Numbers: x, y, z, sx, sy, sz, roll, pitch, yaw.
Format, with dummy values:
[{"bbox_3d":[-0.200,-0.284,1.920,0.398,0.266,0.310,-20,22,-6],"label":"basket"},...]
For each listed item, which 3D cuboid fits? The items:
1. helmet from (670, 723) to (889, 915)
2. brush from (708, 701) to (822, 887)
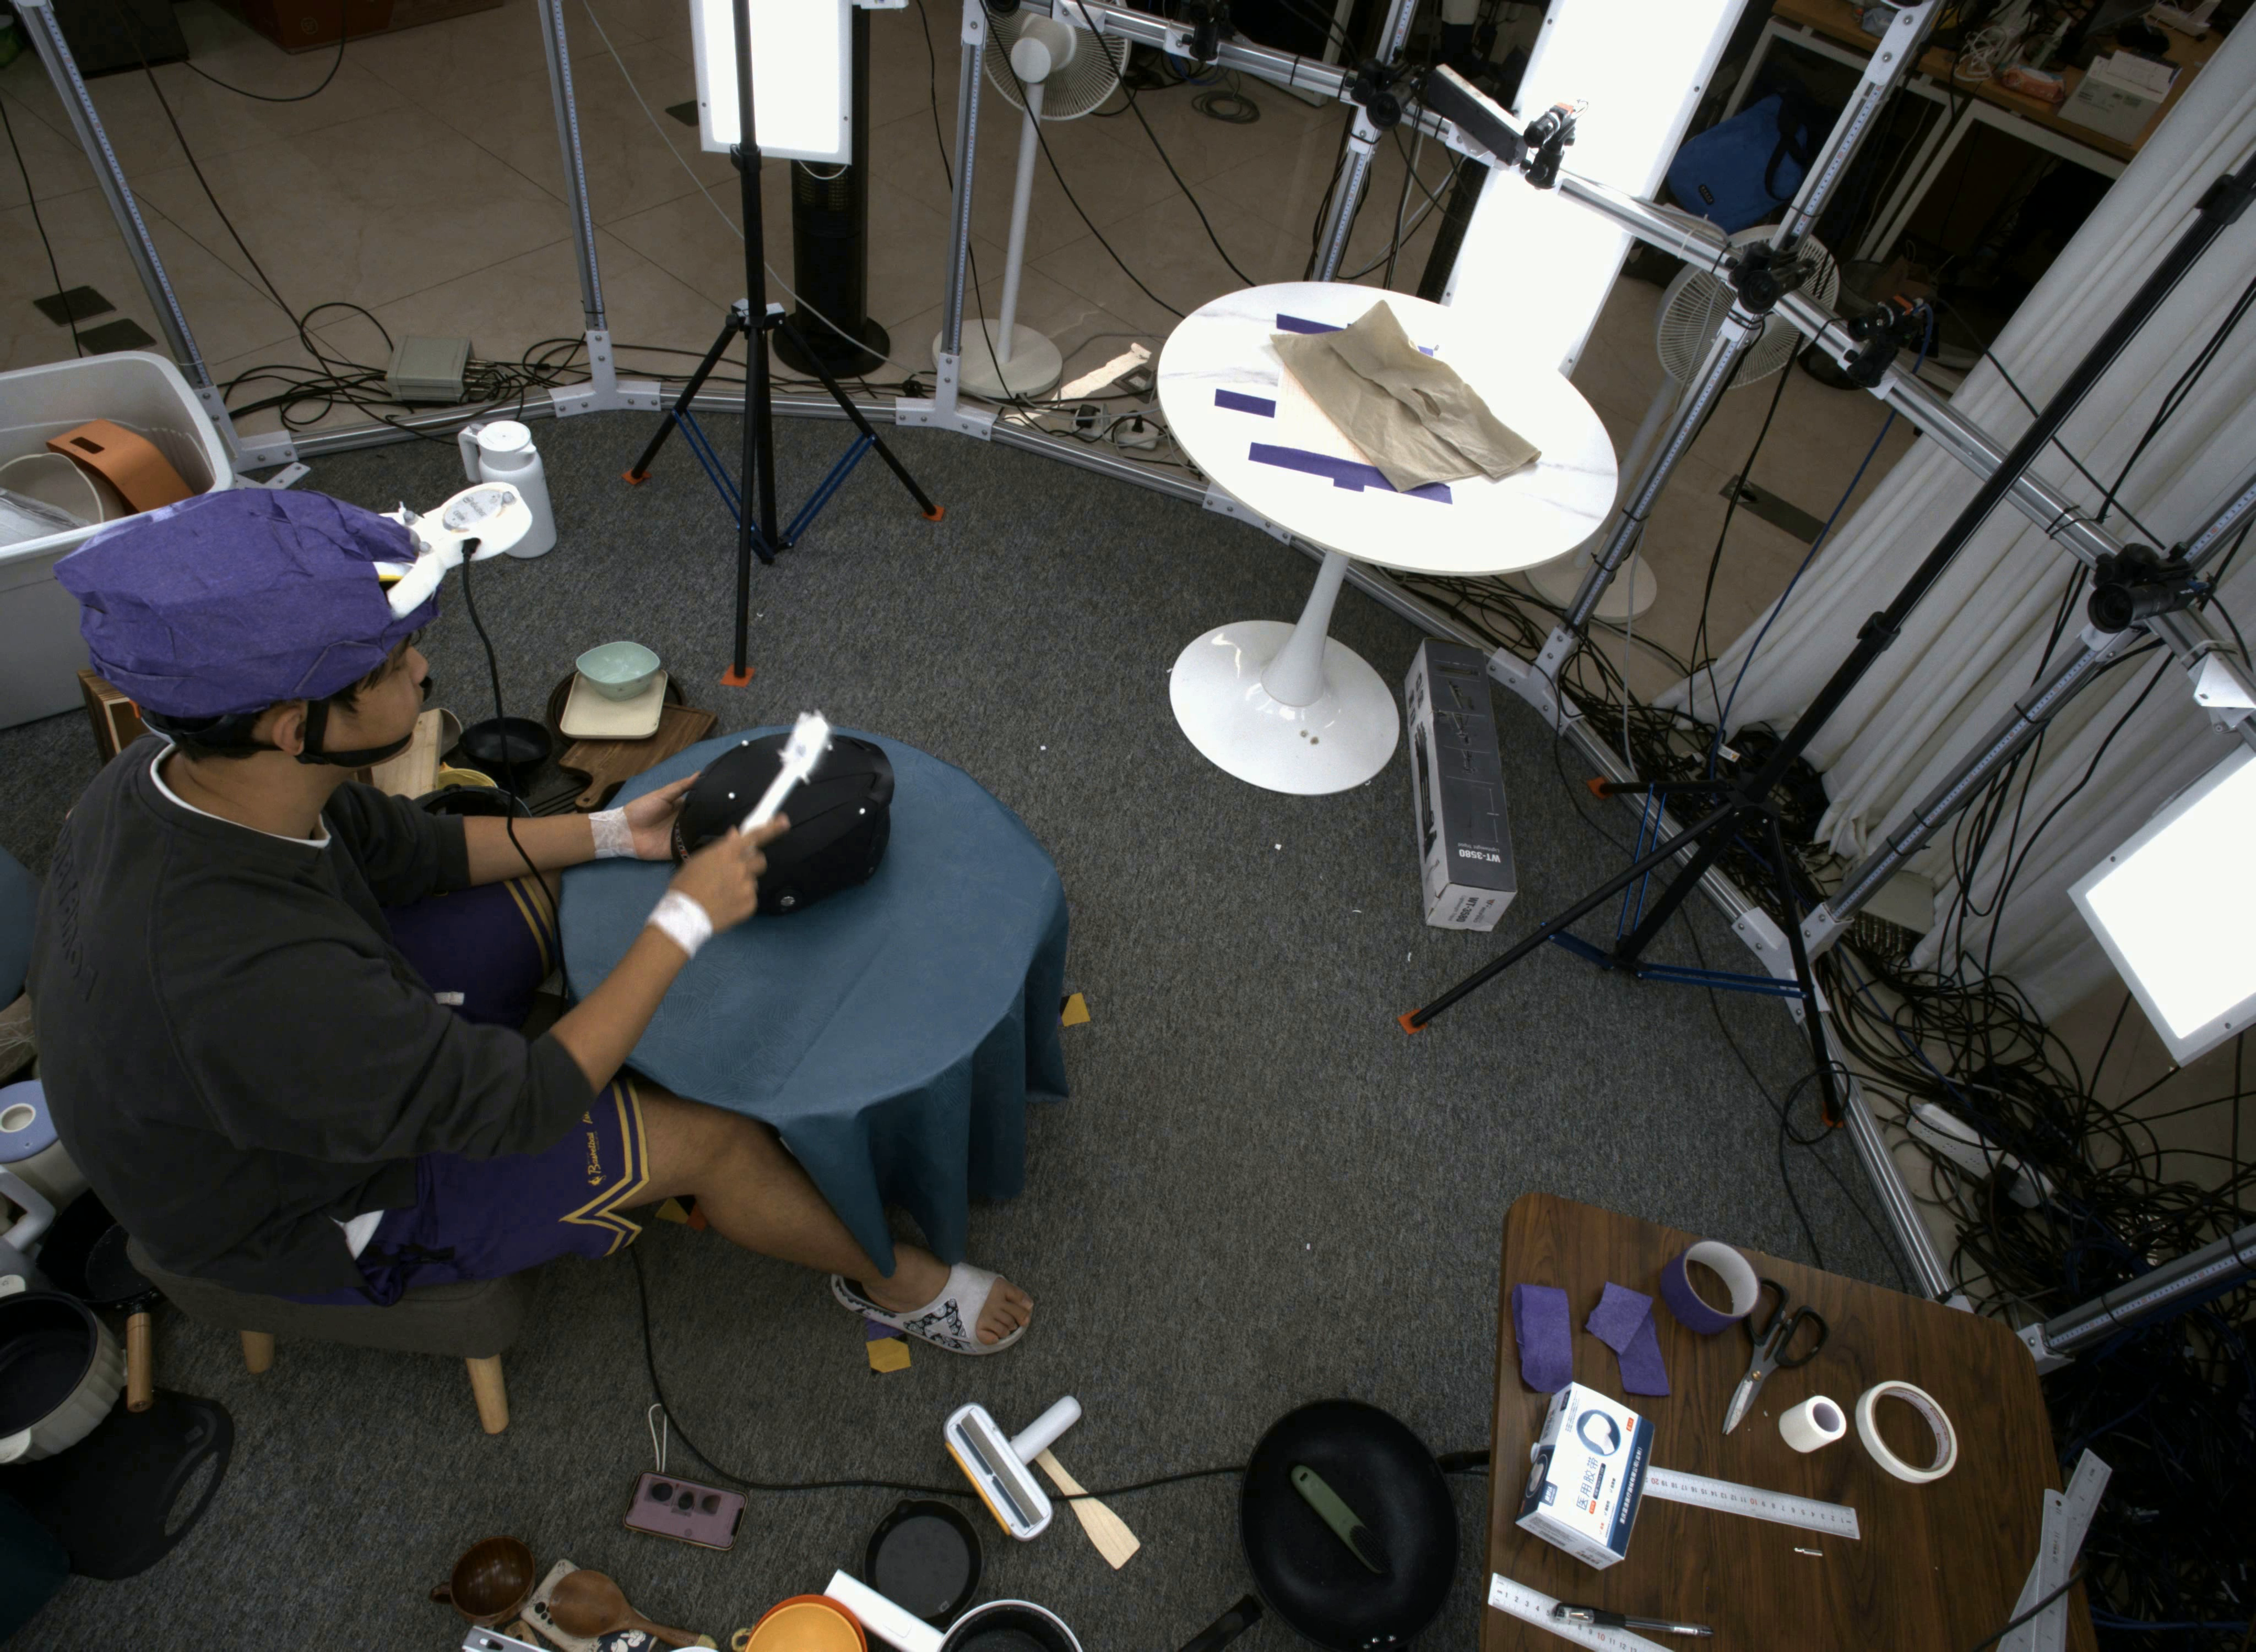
[{"bbox_3d":[-0.438,-0.027,1.639,0.278,0.175,0.241,-12,58,-26],"label":"helmet"},{"bbox_3d":[-0.407,-0.035,1.454,0.034,0.051,0.243,19,68,4],"label":"brush"}]
